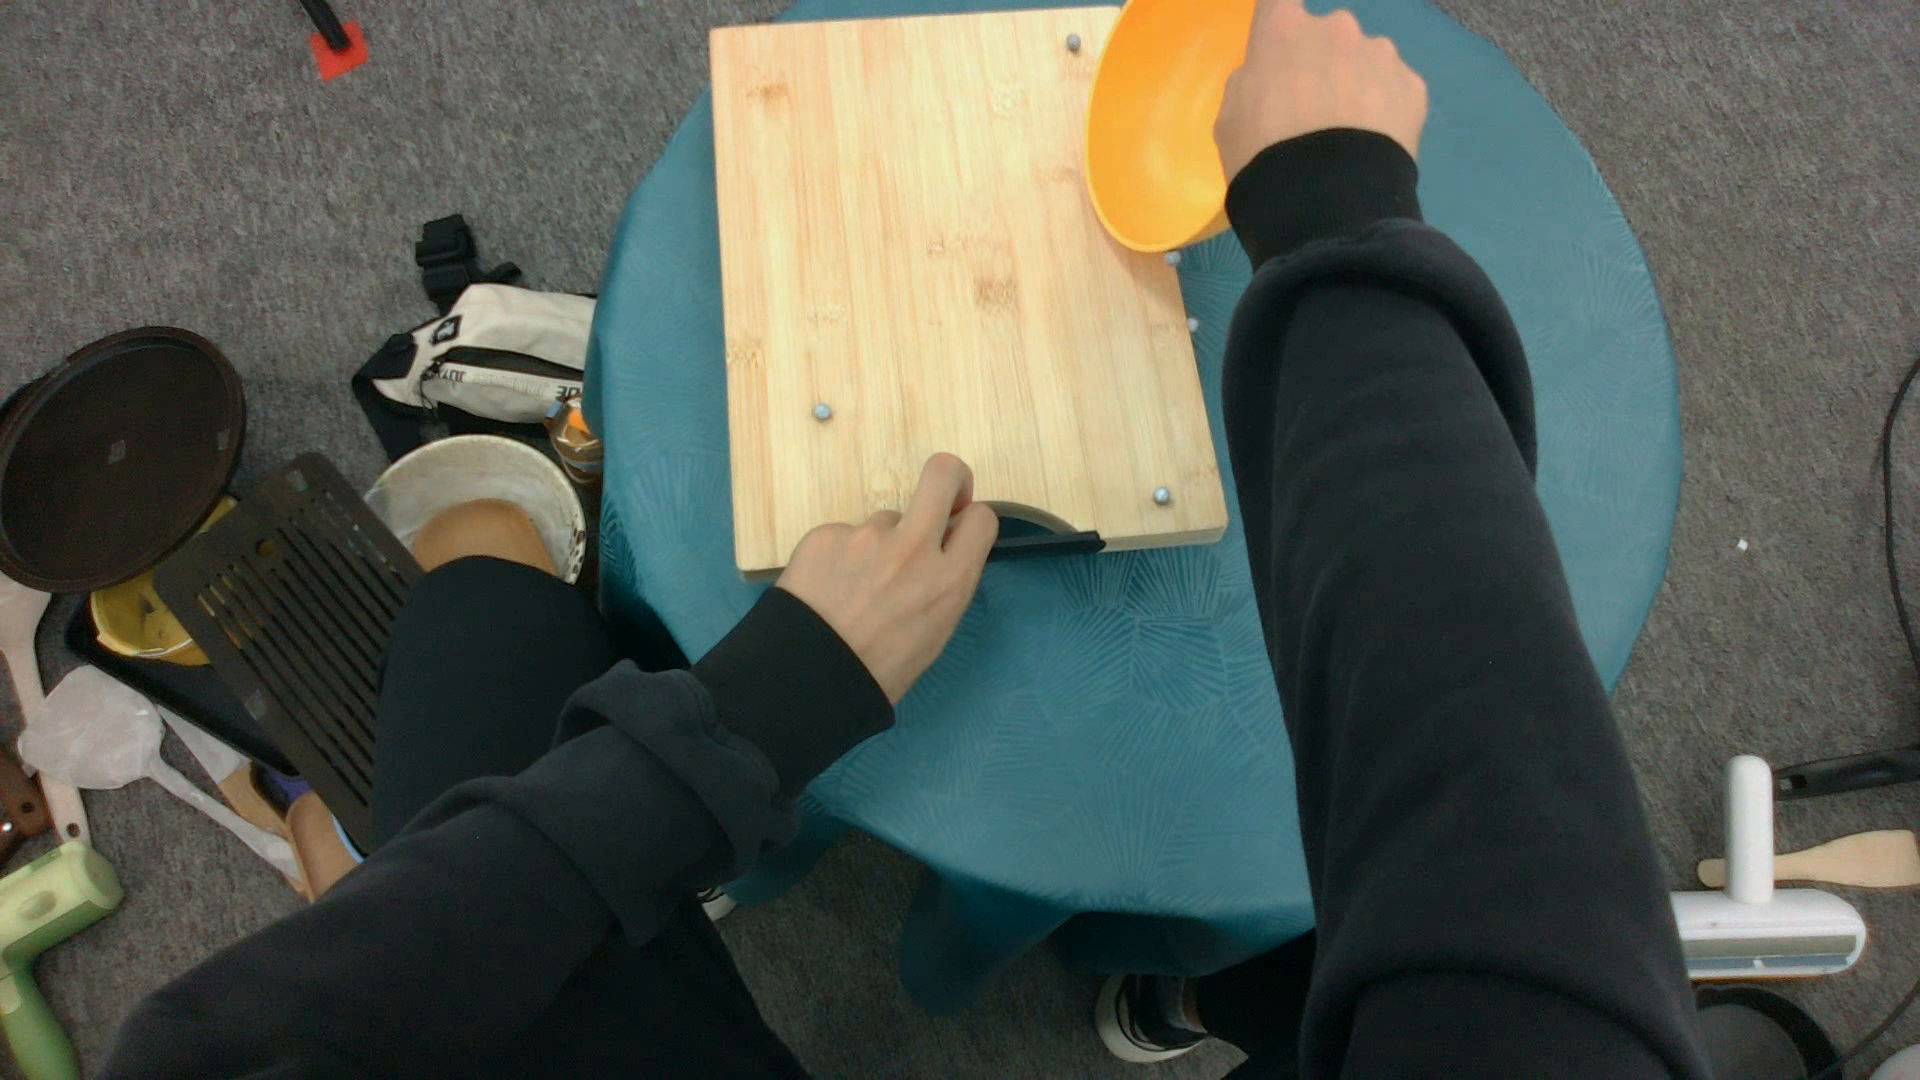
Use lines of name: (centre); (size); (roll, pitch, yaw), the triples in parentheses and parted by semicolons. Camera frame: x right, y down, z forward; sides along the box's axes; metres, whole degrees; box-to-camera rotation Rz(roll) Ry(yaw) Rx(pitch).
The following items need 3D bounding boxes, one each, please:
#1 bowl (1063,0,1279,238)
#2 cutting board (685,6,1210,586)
bowl: (0.117, -0.226, 0.703); (0.060, 0.144, 0.145); (-2, 71, -31)
cutting board: (-0.018, -0.147, 0.734); (0.251, 0.023, 0.349); (-6, 66, -6)
